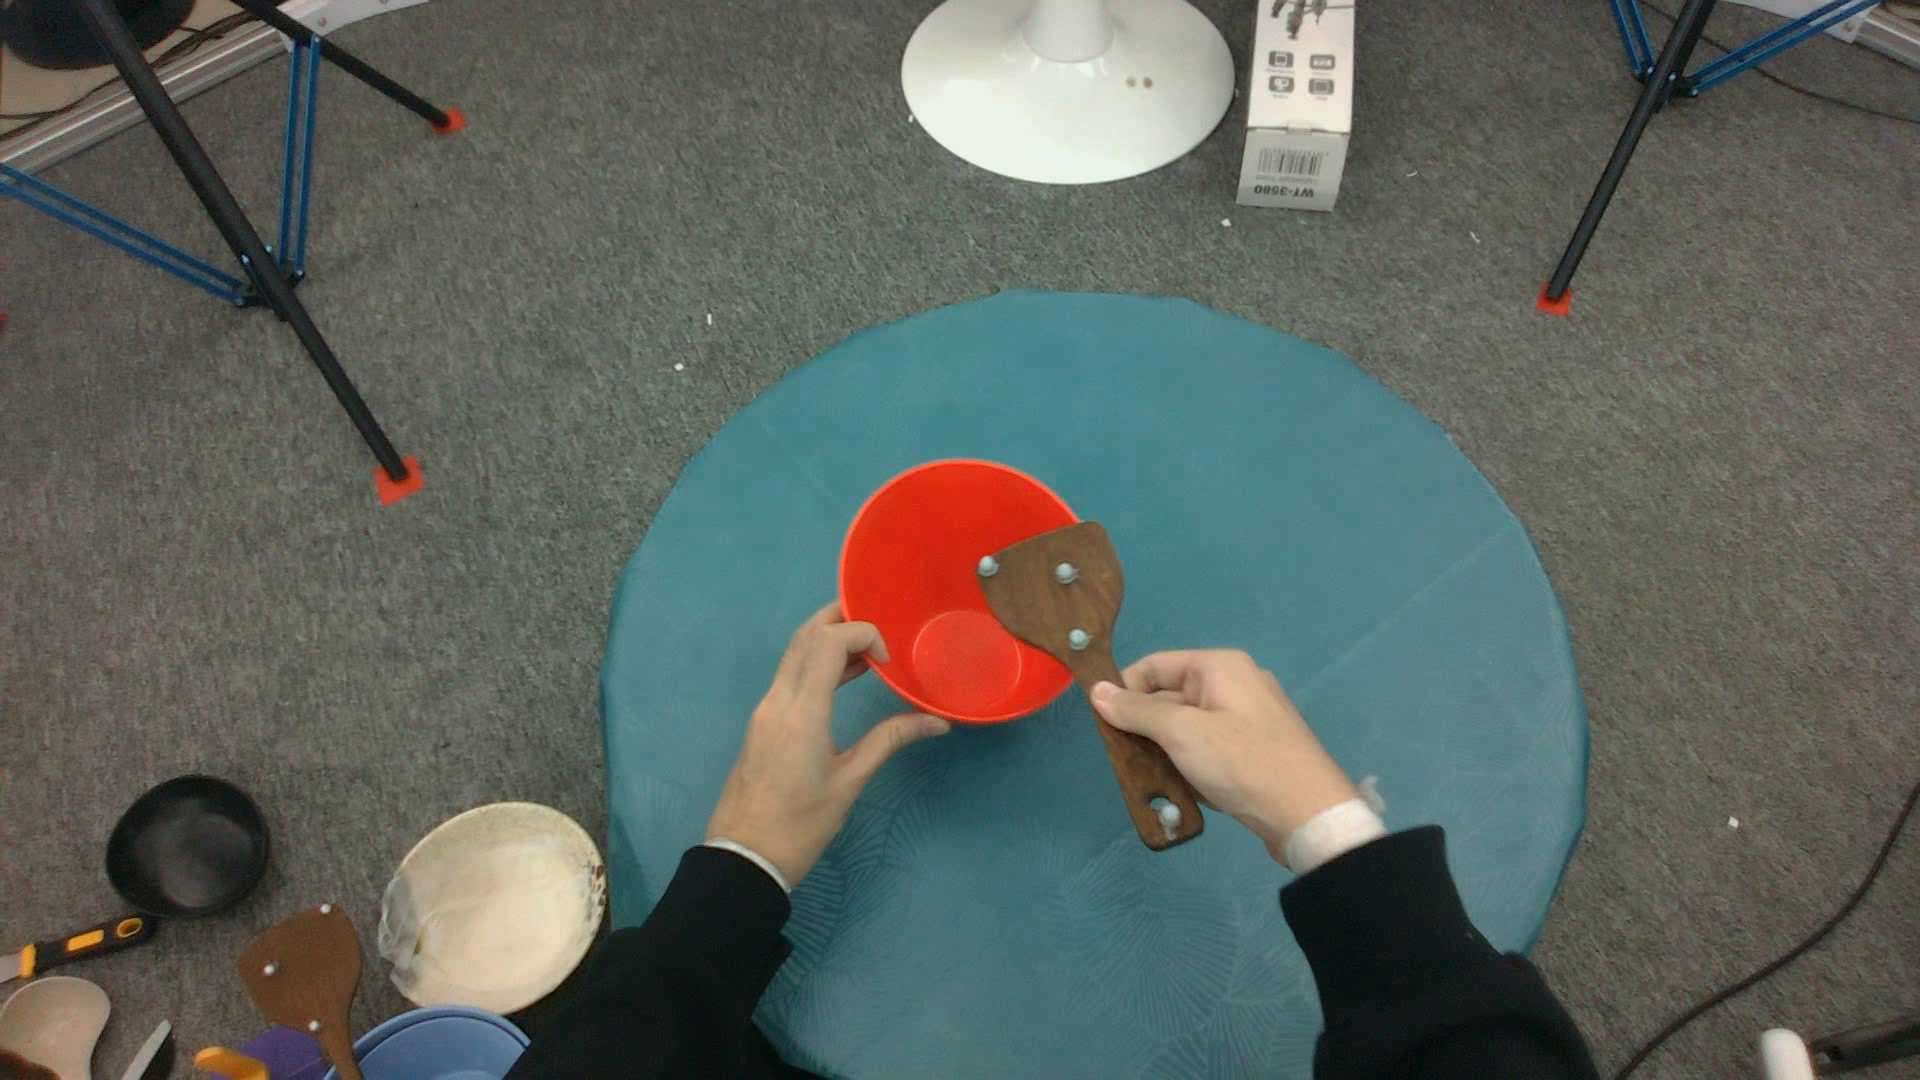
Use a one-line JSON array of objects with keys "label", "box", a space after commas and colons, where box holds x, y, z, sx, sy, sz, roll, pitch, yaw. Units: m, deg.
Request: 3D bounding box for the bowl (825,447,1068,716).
[{"label": "bowl", "box": [-0.006, 0.036, 0.784, 0.148, 0.104, 0.148, 4, 63, -8]}]

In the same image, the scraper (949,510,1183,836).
[{"label": "scraper", "box": [0.055, 0.058, 0.656, 0.076, 0.011, 0.212, -20, 40, -3]}]
